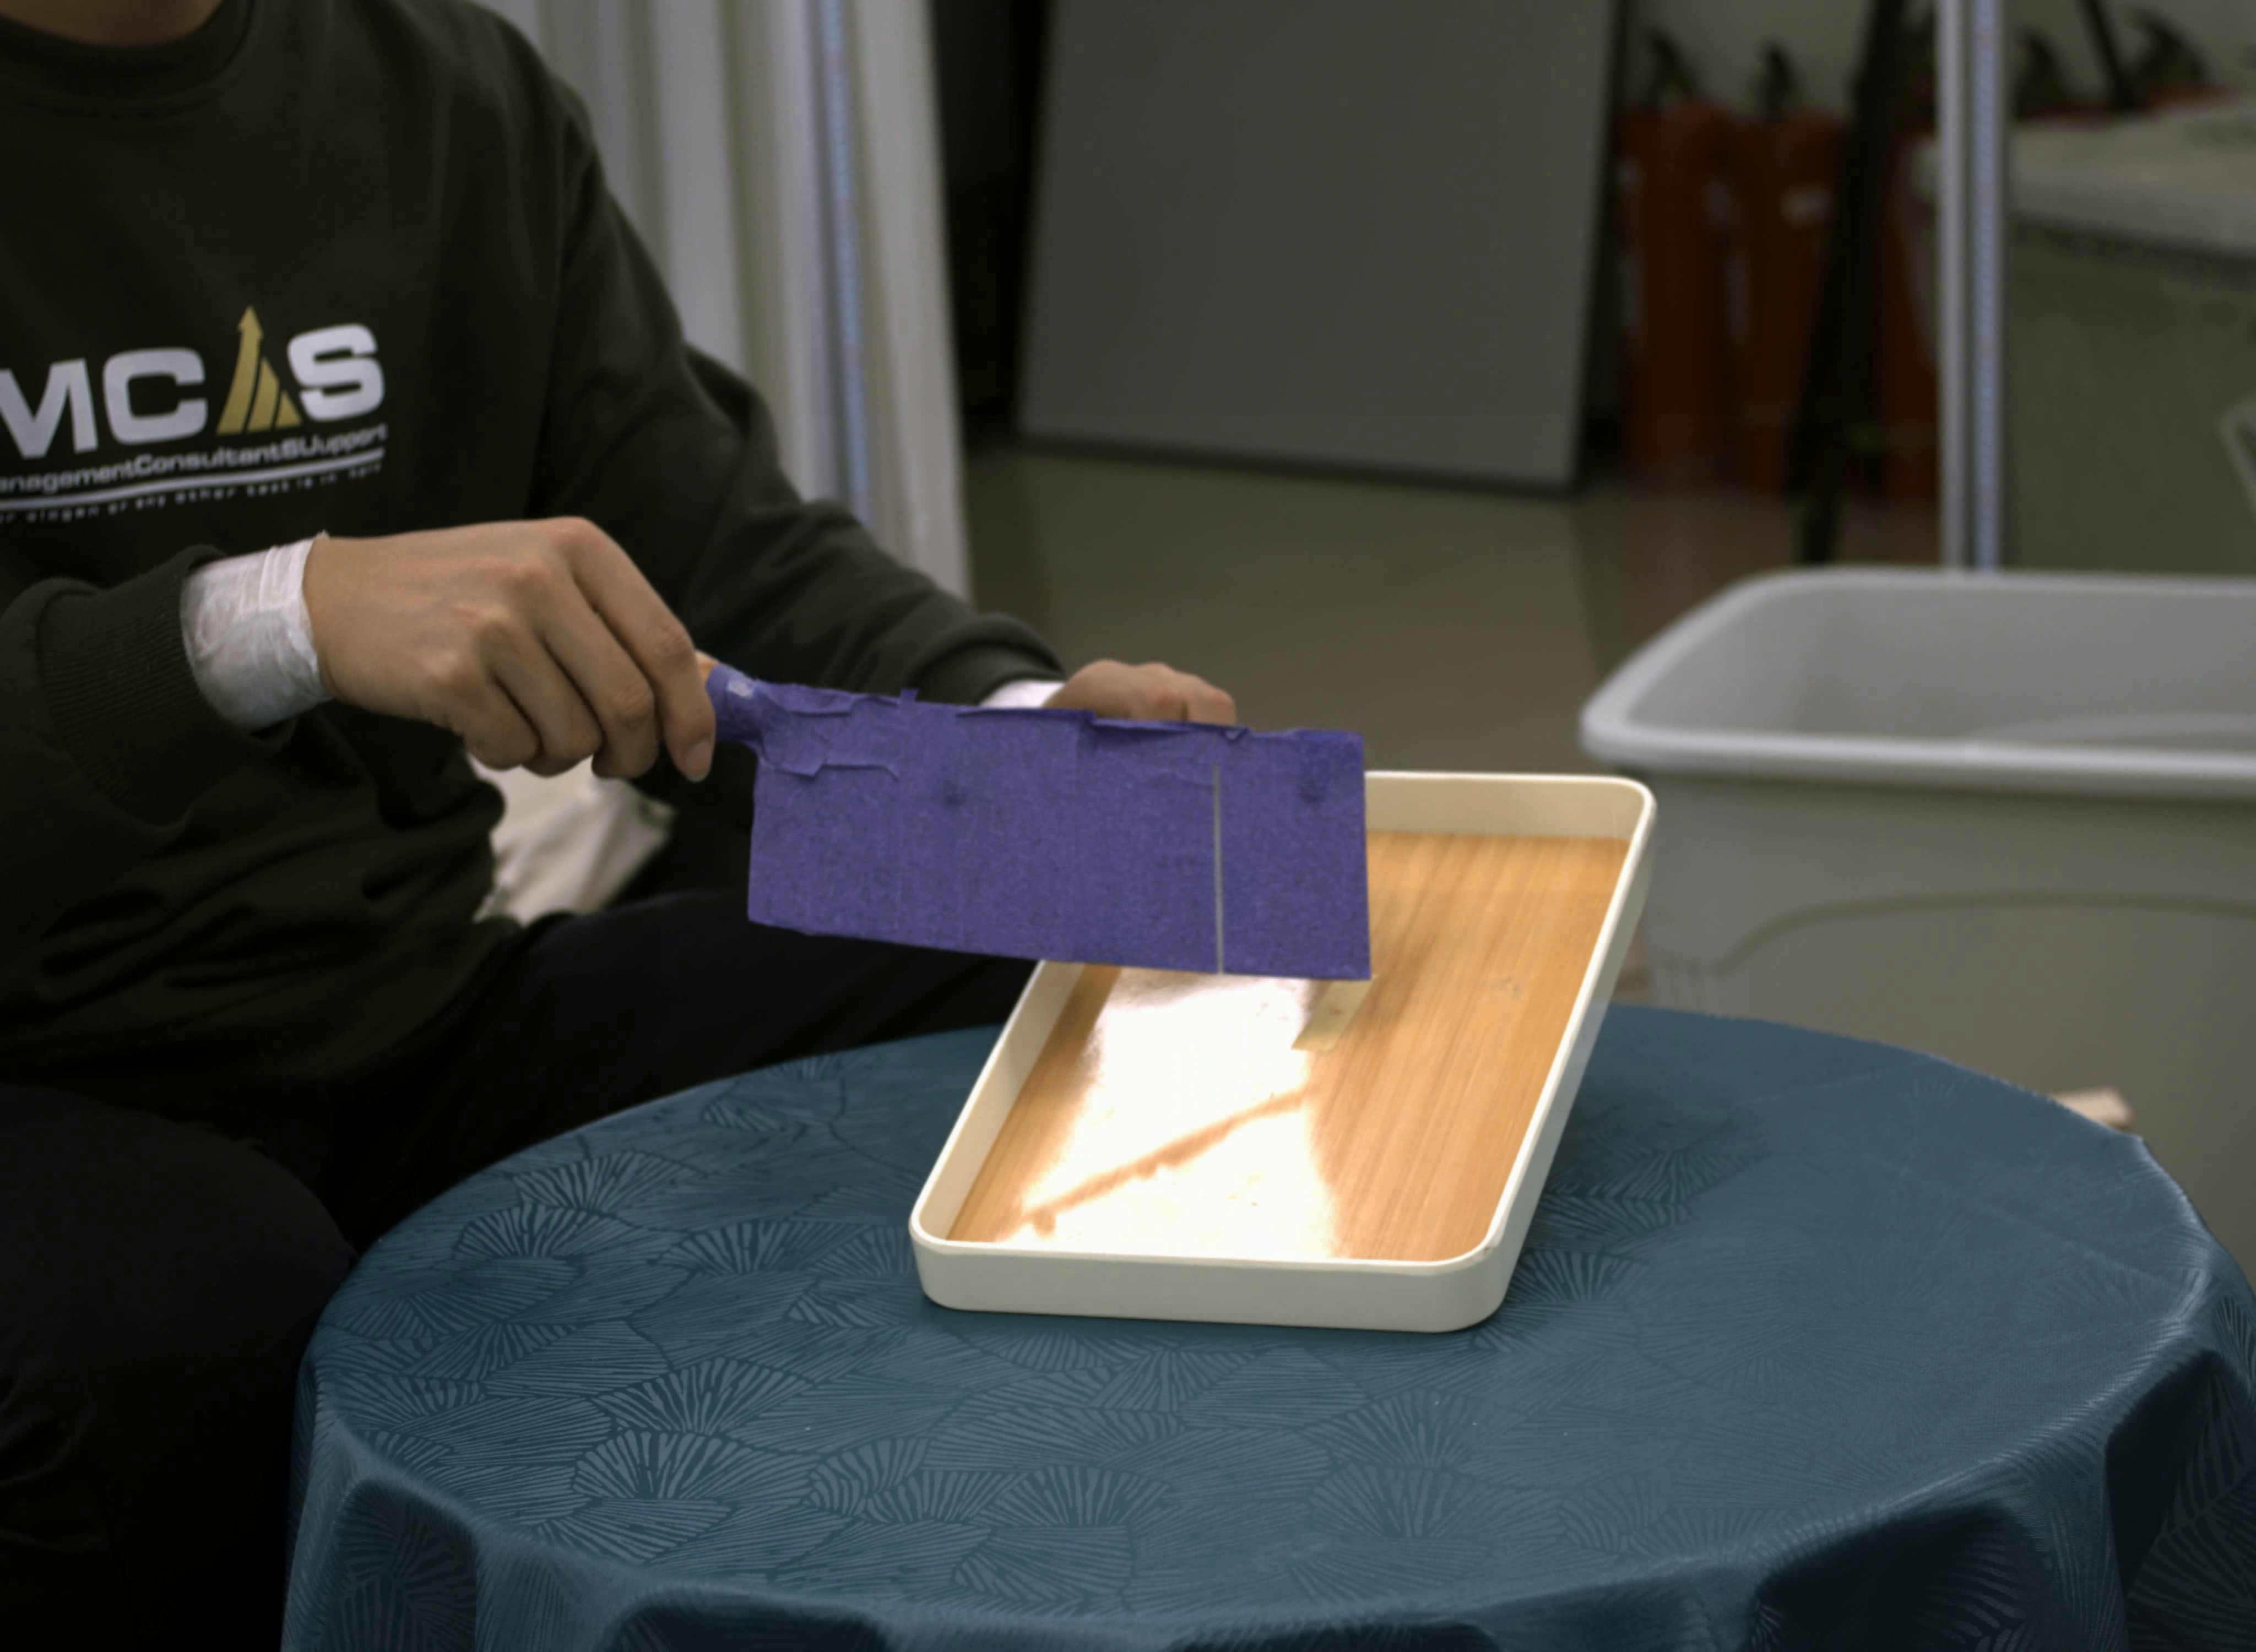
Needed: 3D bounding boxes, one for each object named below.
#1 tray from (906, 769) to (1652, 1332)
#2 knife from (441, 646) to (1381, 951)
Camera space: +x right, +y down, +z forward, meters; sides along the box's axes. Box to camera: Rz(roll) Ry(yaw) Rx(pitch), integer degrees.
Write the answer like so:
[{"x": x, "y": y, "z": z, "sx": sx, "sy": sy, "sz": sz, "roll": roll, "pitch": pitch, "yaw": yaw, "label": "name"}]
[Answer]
[{"x": 0.056, "y": 0.067, "z": 1.758, "sx": 0.191, "sy": 0.027, "sz": 0.299, "roll": 0, "pitch": 30, "yaw": 18, "label": "tray"}, {"x": -0.070, "y": -0.008, "z": 1.769, "sx": 0.310, "sy": 0.105, "sz": 0.032, "roll": 3, "pitch": -28, "yaw": -5, "label": "knife"}]
